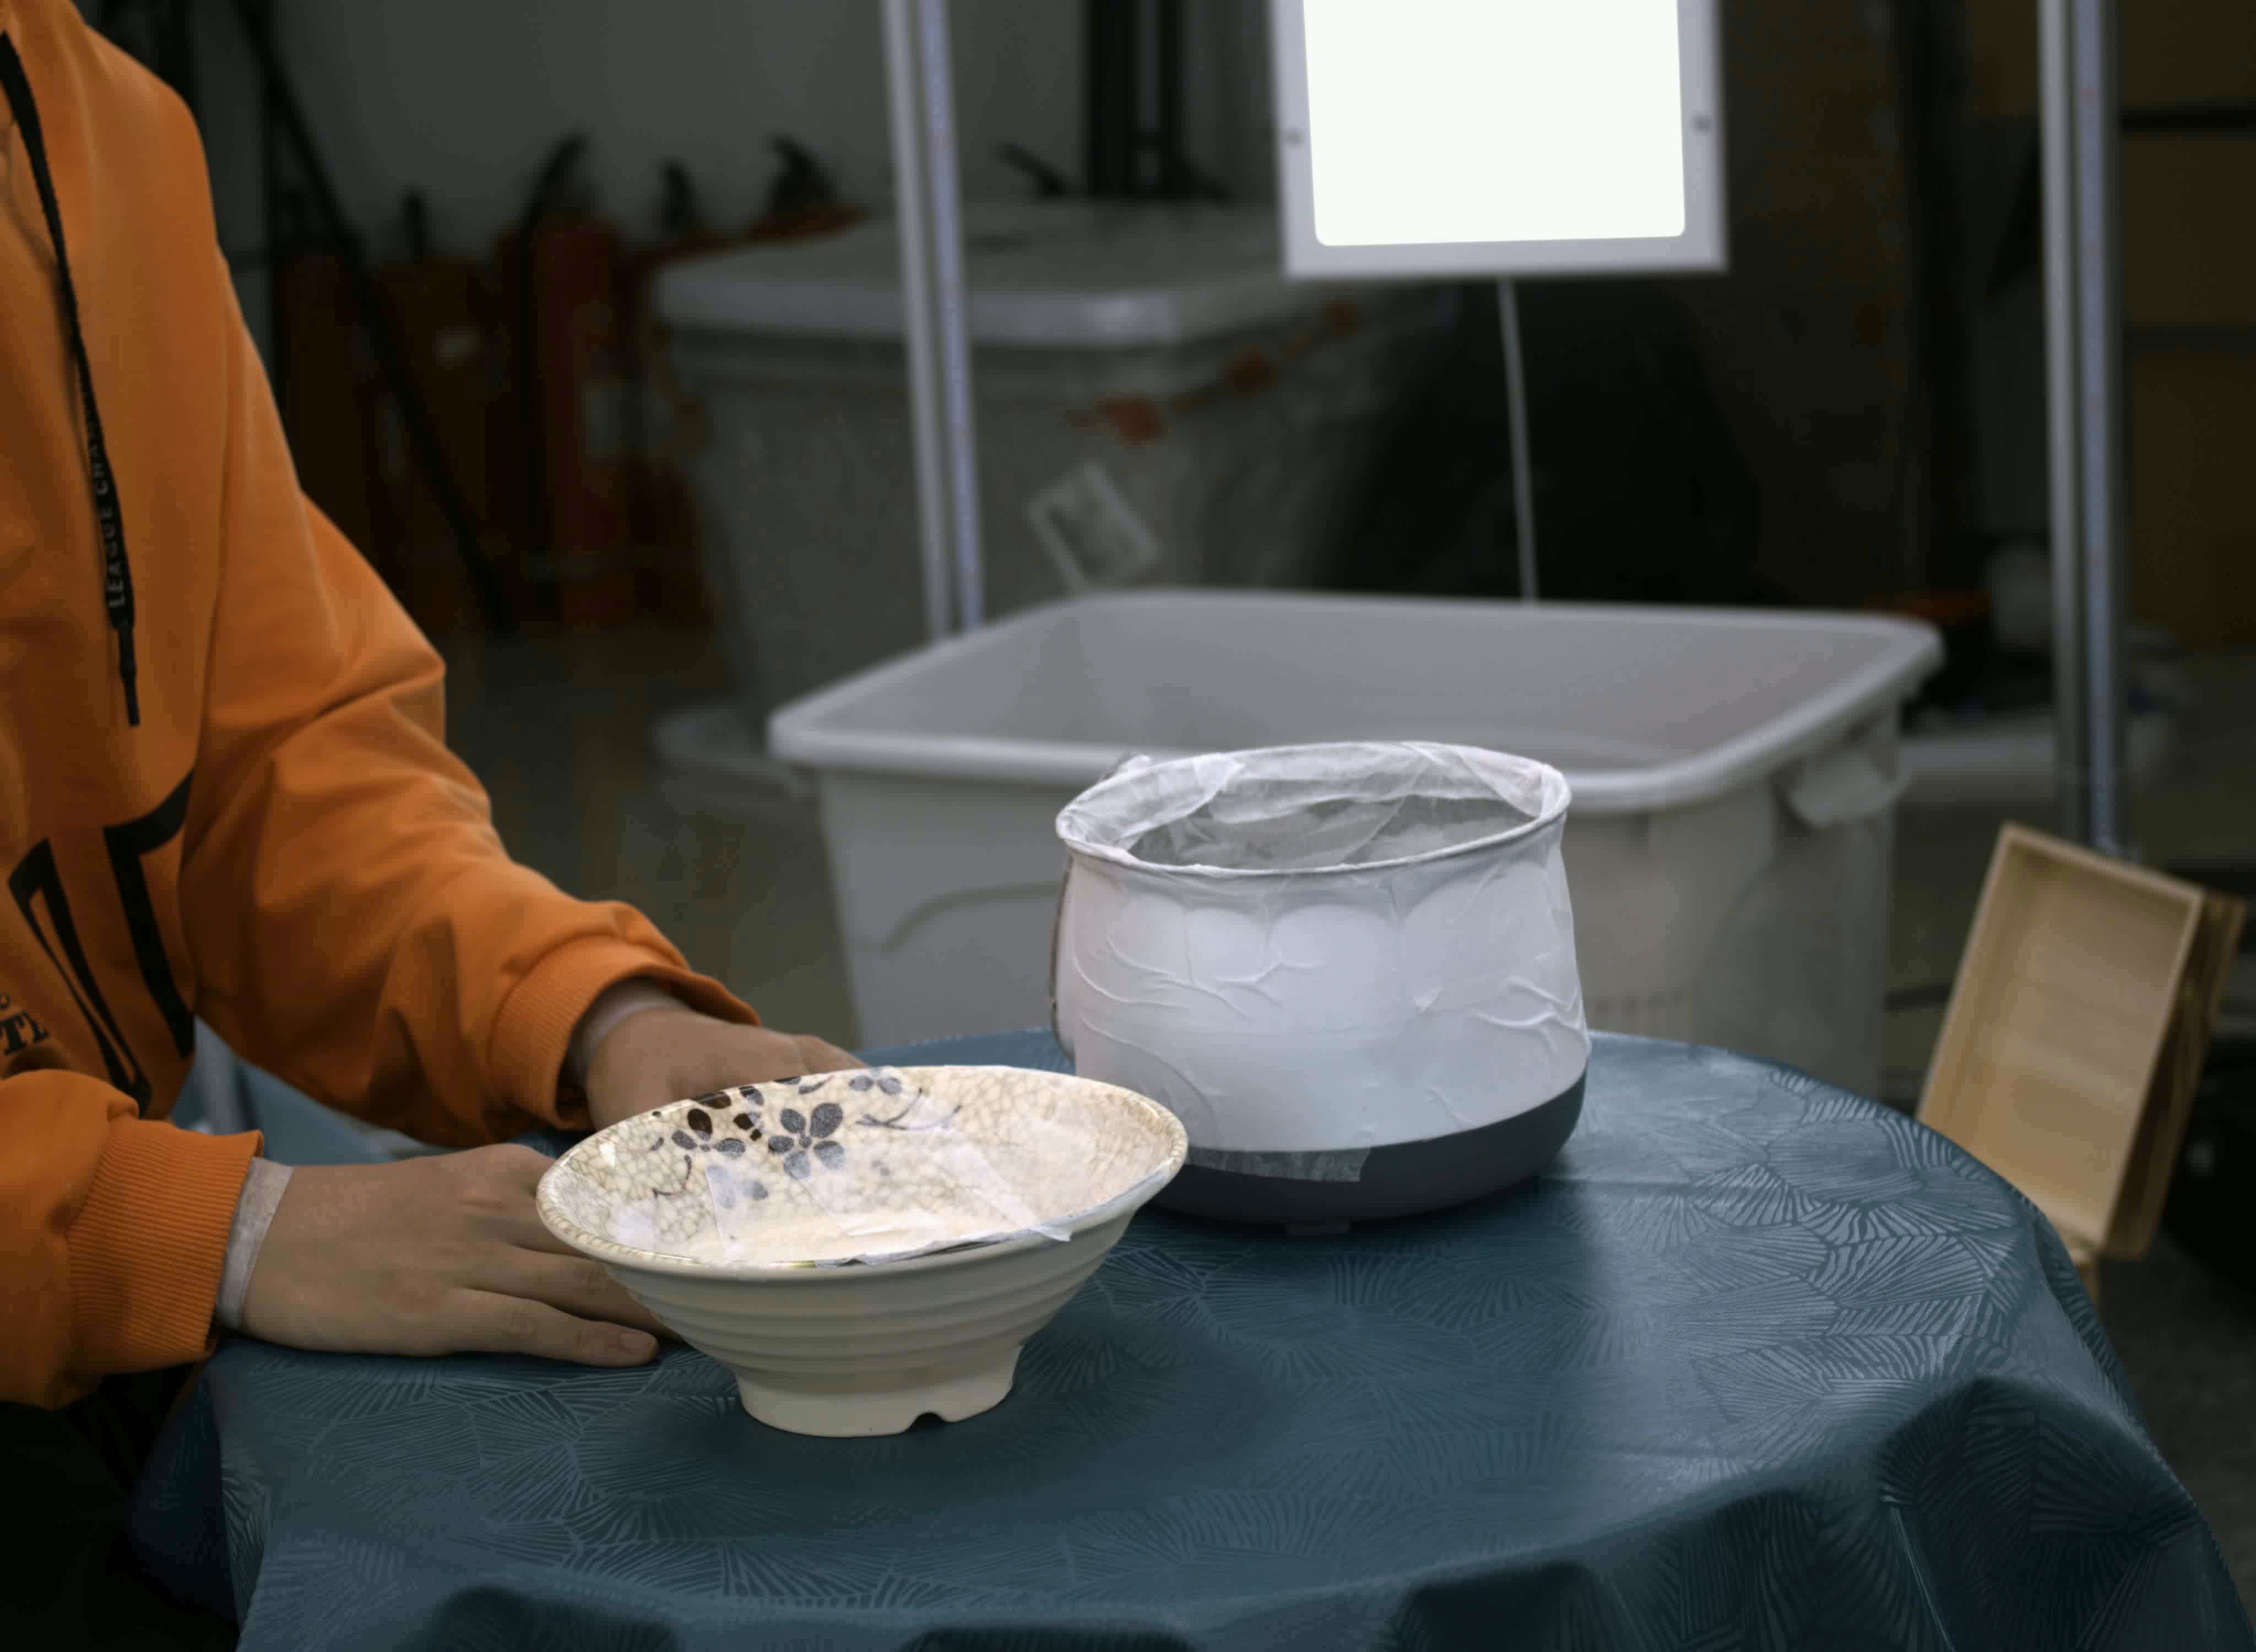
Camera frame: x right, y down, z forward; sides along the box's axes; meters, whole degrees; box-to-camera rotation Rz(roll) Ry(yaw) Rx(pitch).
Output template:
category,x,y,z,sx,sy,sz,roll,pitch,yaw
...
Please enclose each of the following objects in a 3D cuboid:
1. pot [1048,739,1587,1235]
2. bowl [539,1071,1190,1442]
category,x,y,z,sx,sy,sz,roll,pitch,yaw
pot,0.050,0.049,1.904,0.174,0.137,0.238,-14,17,-36
bowl,-0.077,0.140,1.713,0.203,0.078,0.204,-7,13,0
